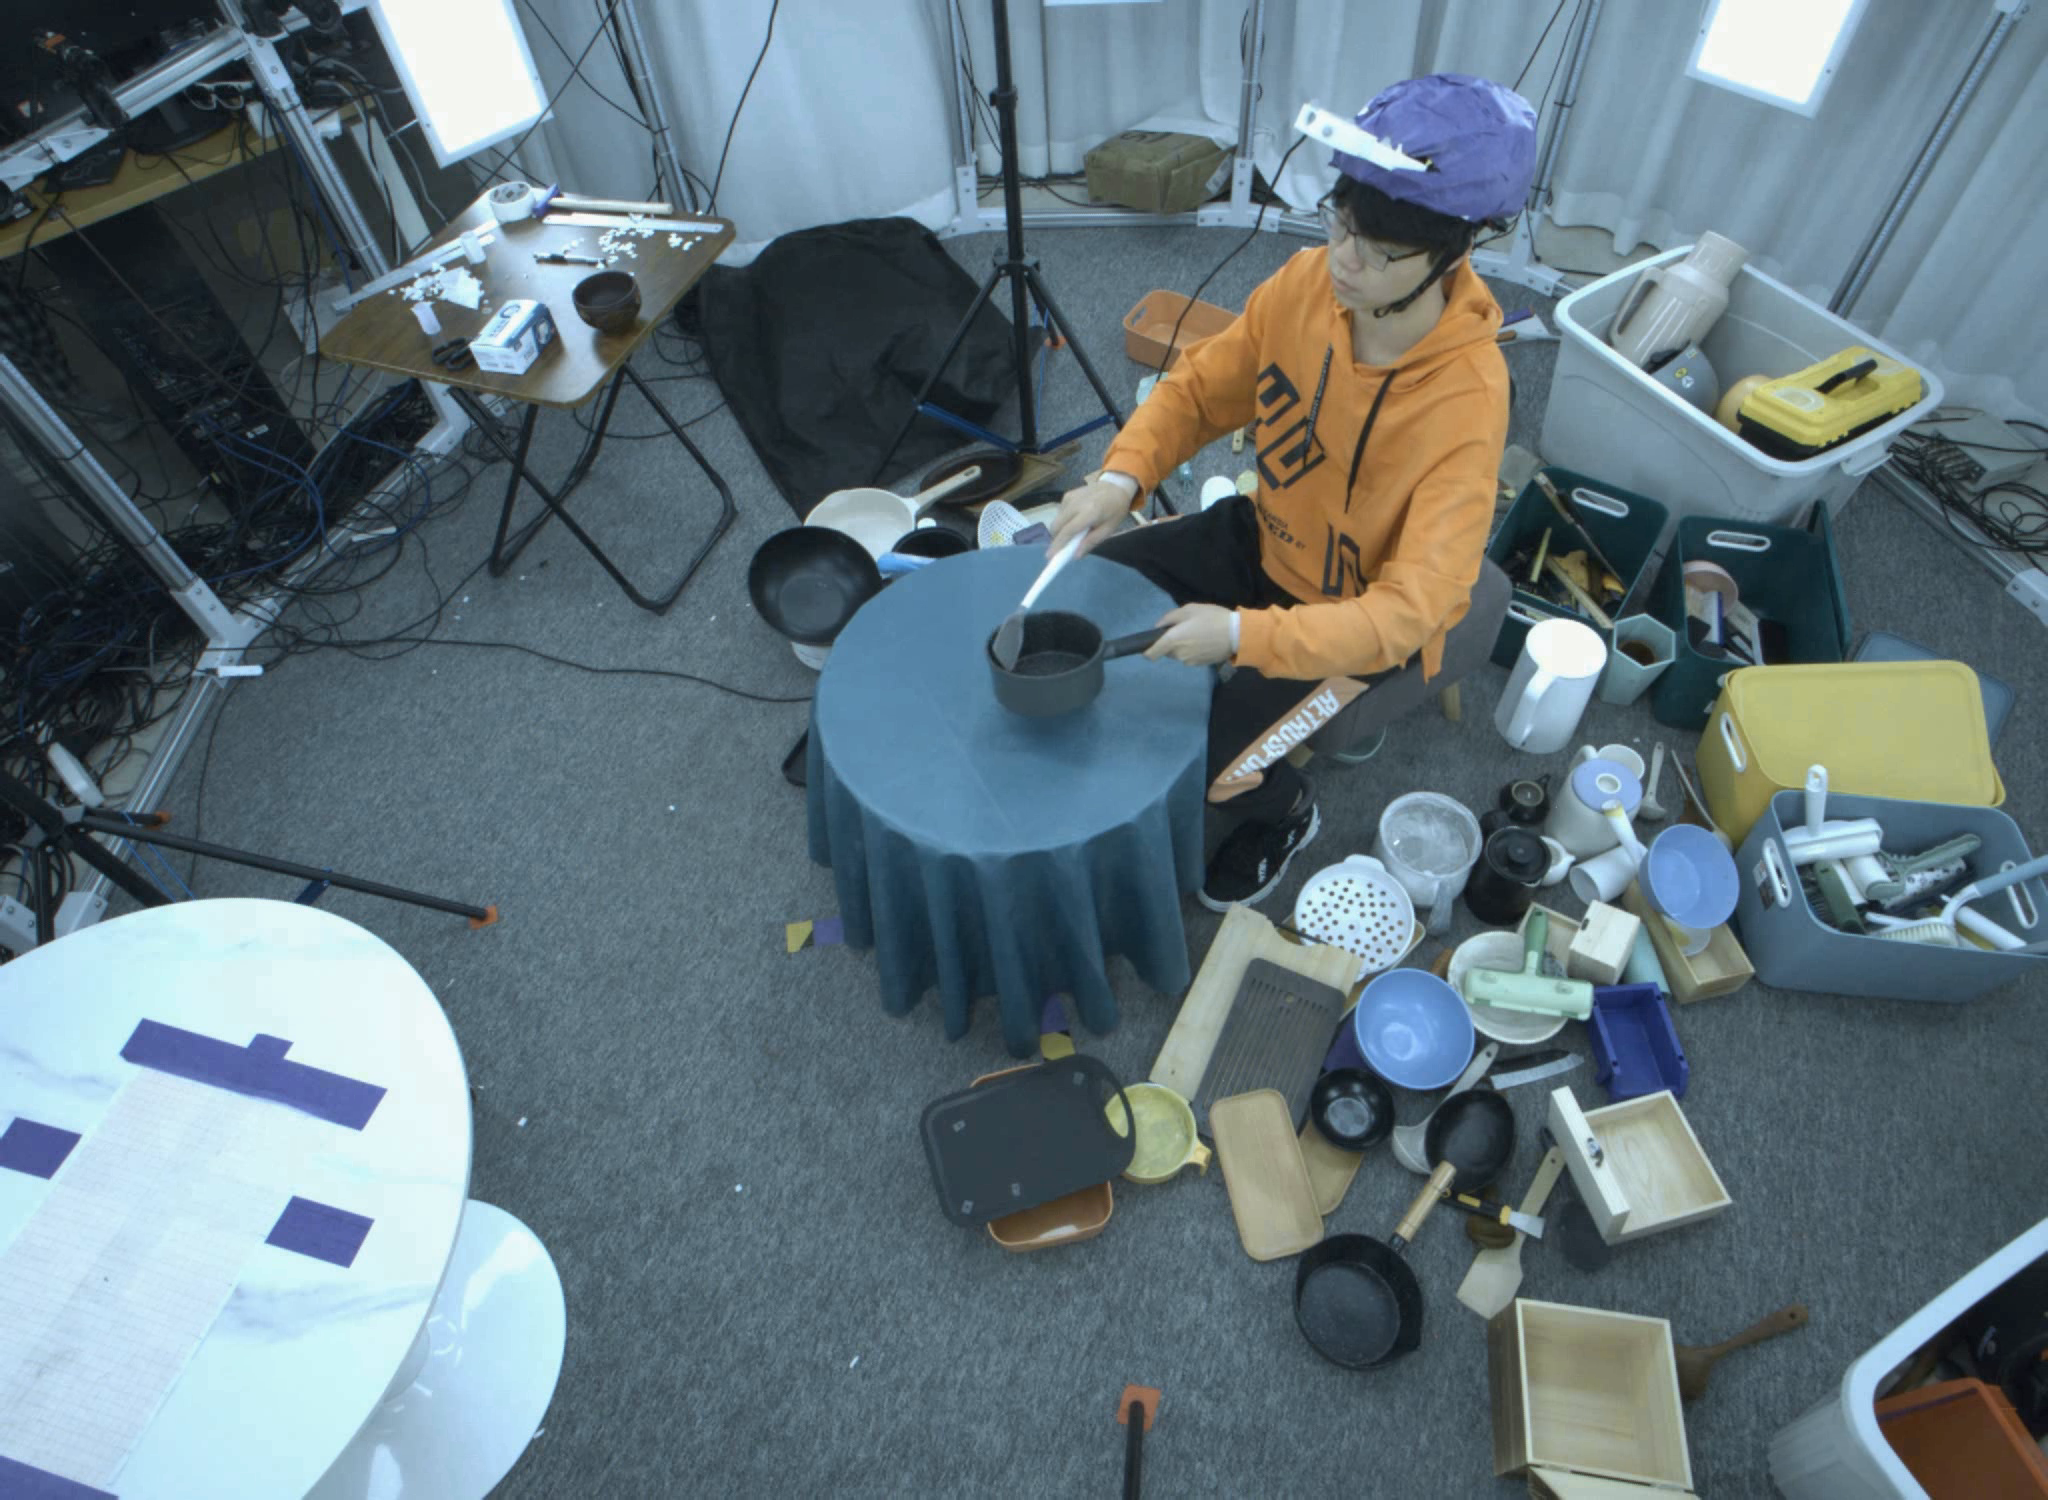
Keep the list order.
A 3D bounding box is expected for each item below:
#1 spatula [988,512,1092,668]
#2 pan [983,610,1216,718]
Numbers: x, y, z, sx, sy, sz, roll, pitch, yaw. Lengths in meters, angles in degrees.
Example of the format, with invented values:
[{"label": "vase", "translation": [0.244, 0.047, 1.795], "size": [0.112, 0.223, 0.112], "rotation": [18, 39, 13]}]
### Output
[{"label": "spatula", "translation": [0.022, -0.233, 1.770], "size": [0.031, 0.060, 0.288], "rotation": [8, 57, 40]}, {"label": "pan", "translation": [0.110, -0.131, 1.755], "size": [0.328, 0.087, 0.170], "rotation": [-5, 41, 3]}]
